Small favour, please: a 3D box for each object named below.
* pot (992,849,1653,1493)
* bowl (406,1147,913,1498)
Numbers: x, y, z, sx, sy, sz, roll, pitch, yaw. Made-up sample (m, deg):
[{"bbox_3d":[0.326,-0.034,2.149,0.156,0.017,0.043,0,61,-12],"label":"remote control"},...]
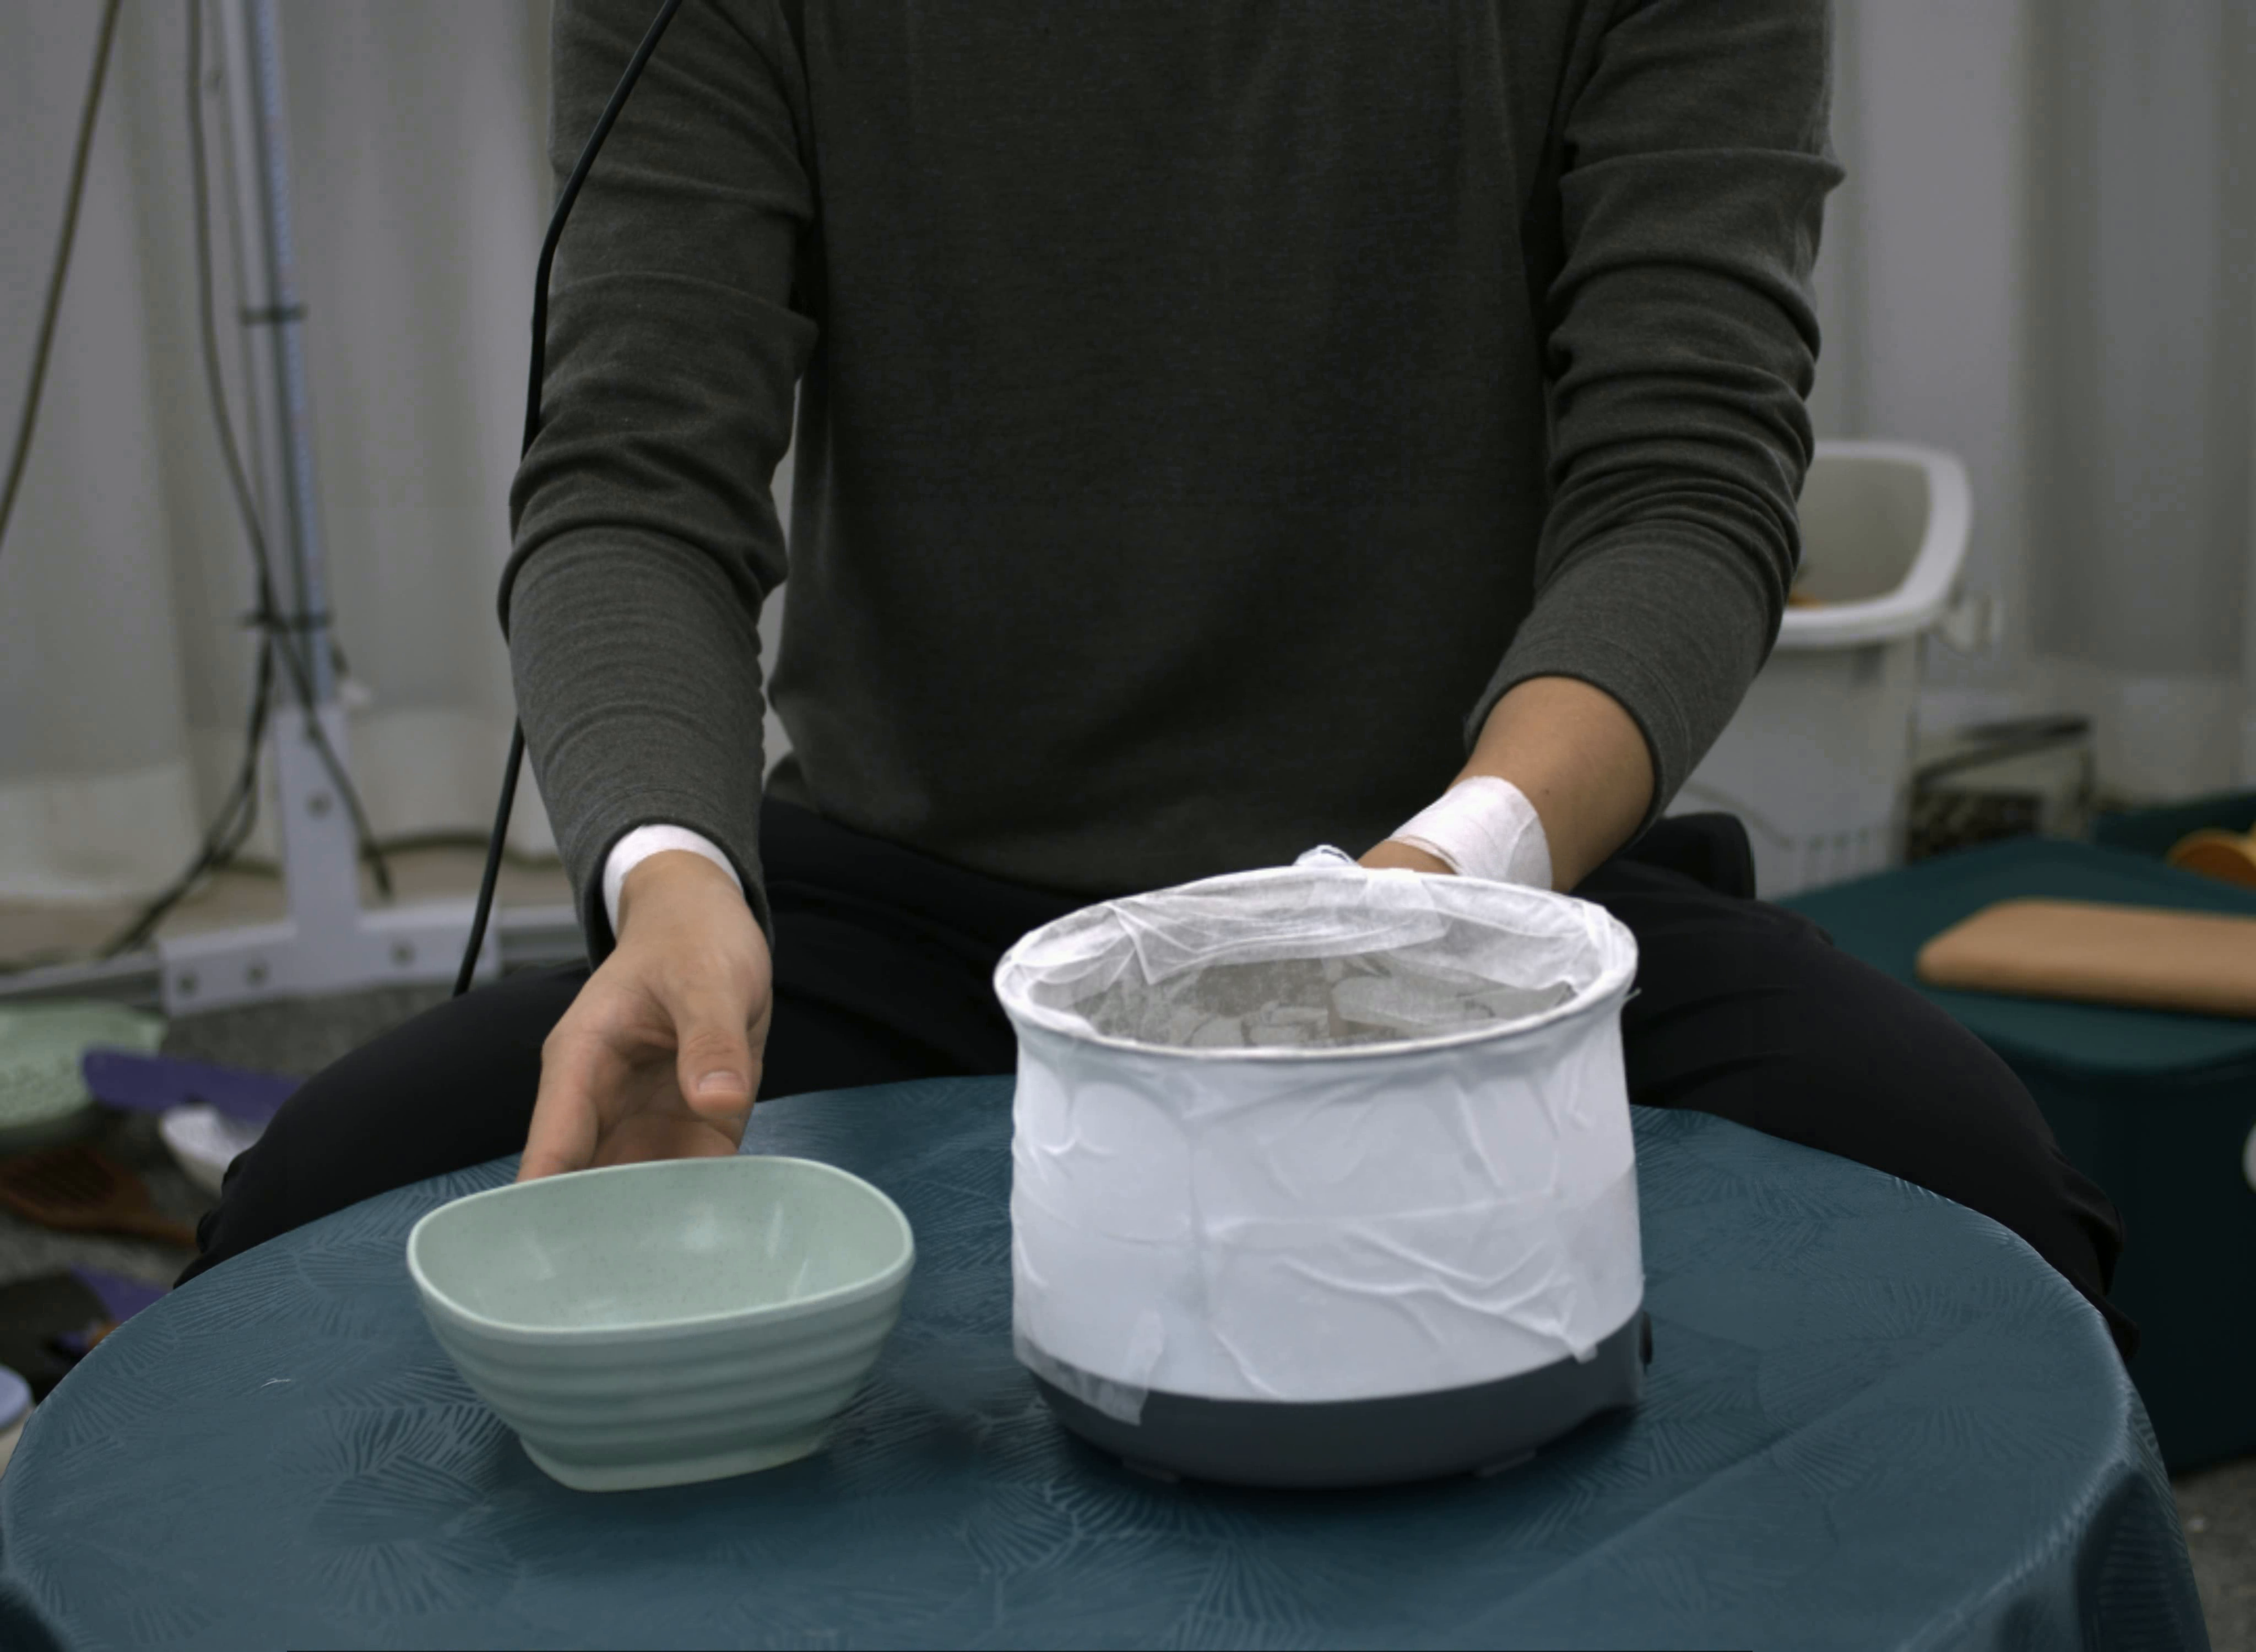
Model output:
[{"bbox_3d":[0.056,0.091,1.536,0.178,0.136,0.235,-2,14,4],"label":"pot"},{"bbox_3d":[-0.129,0.142,1.527,0.151,0.058,0.152,-3,17,1],"label":"bowl"}]
